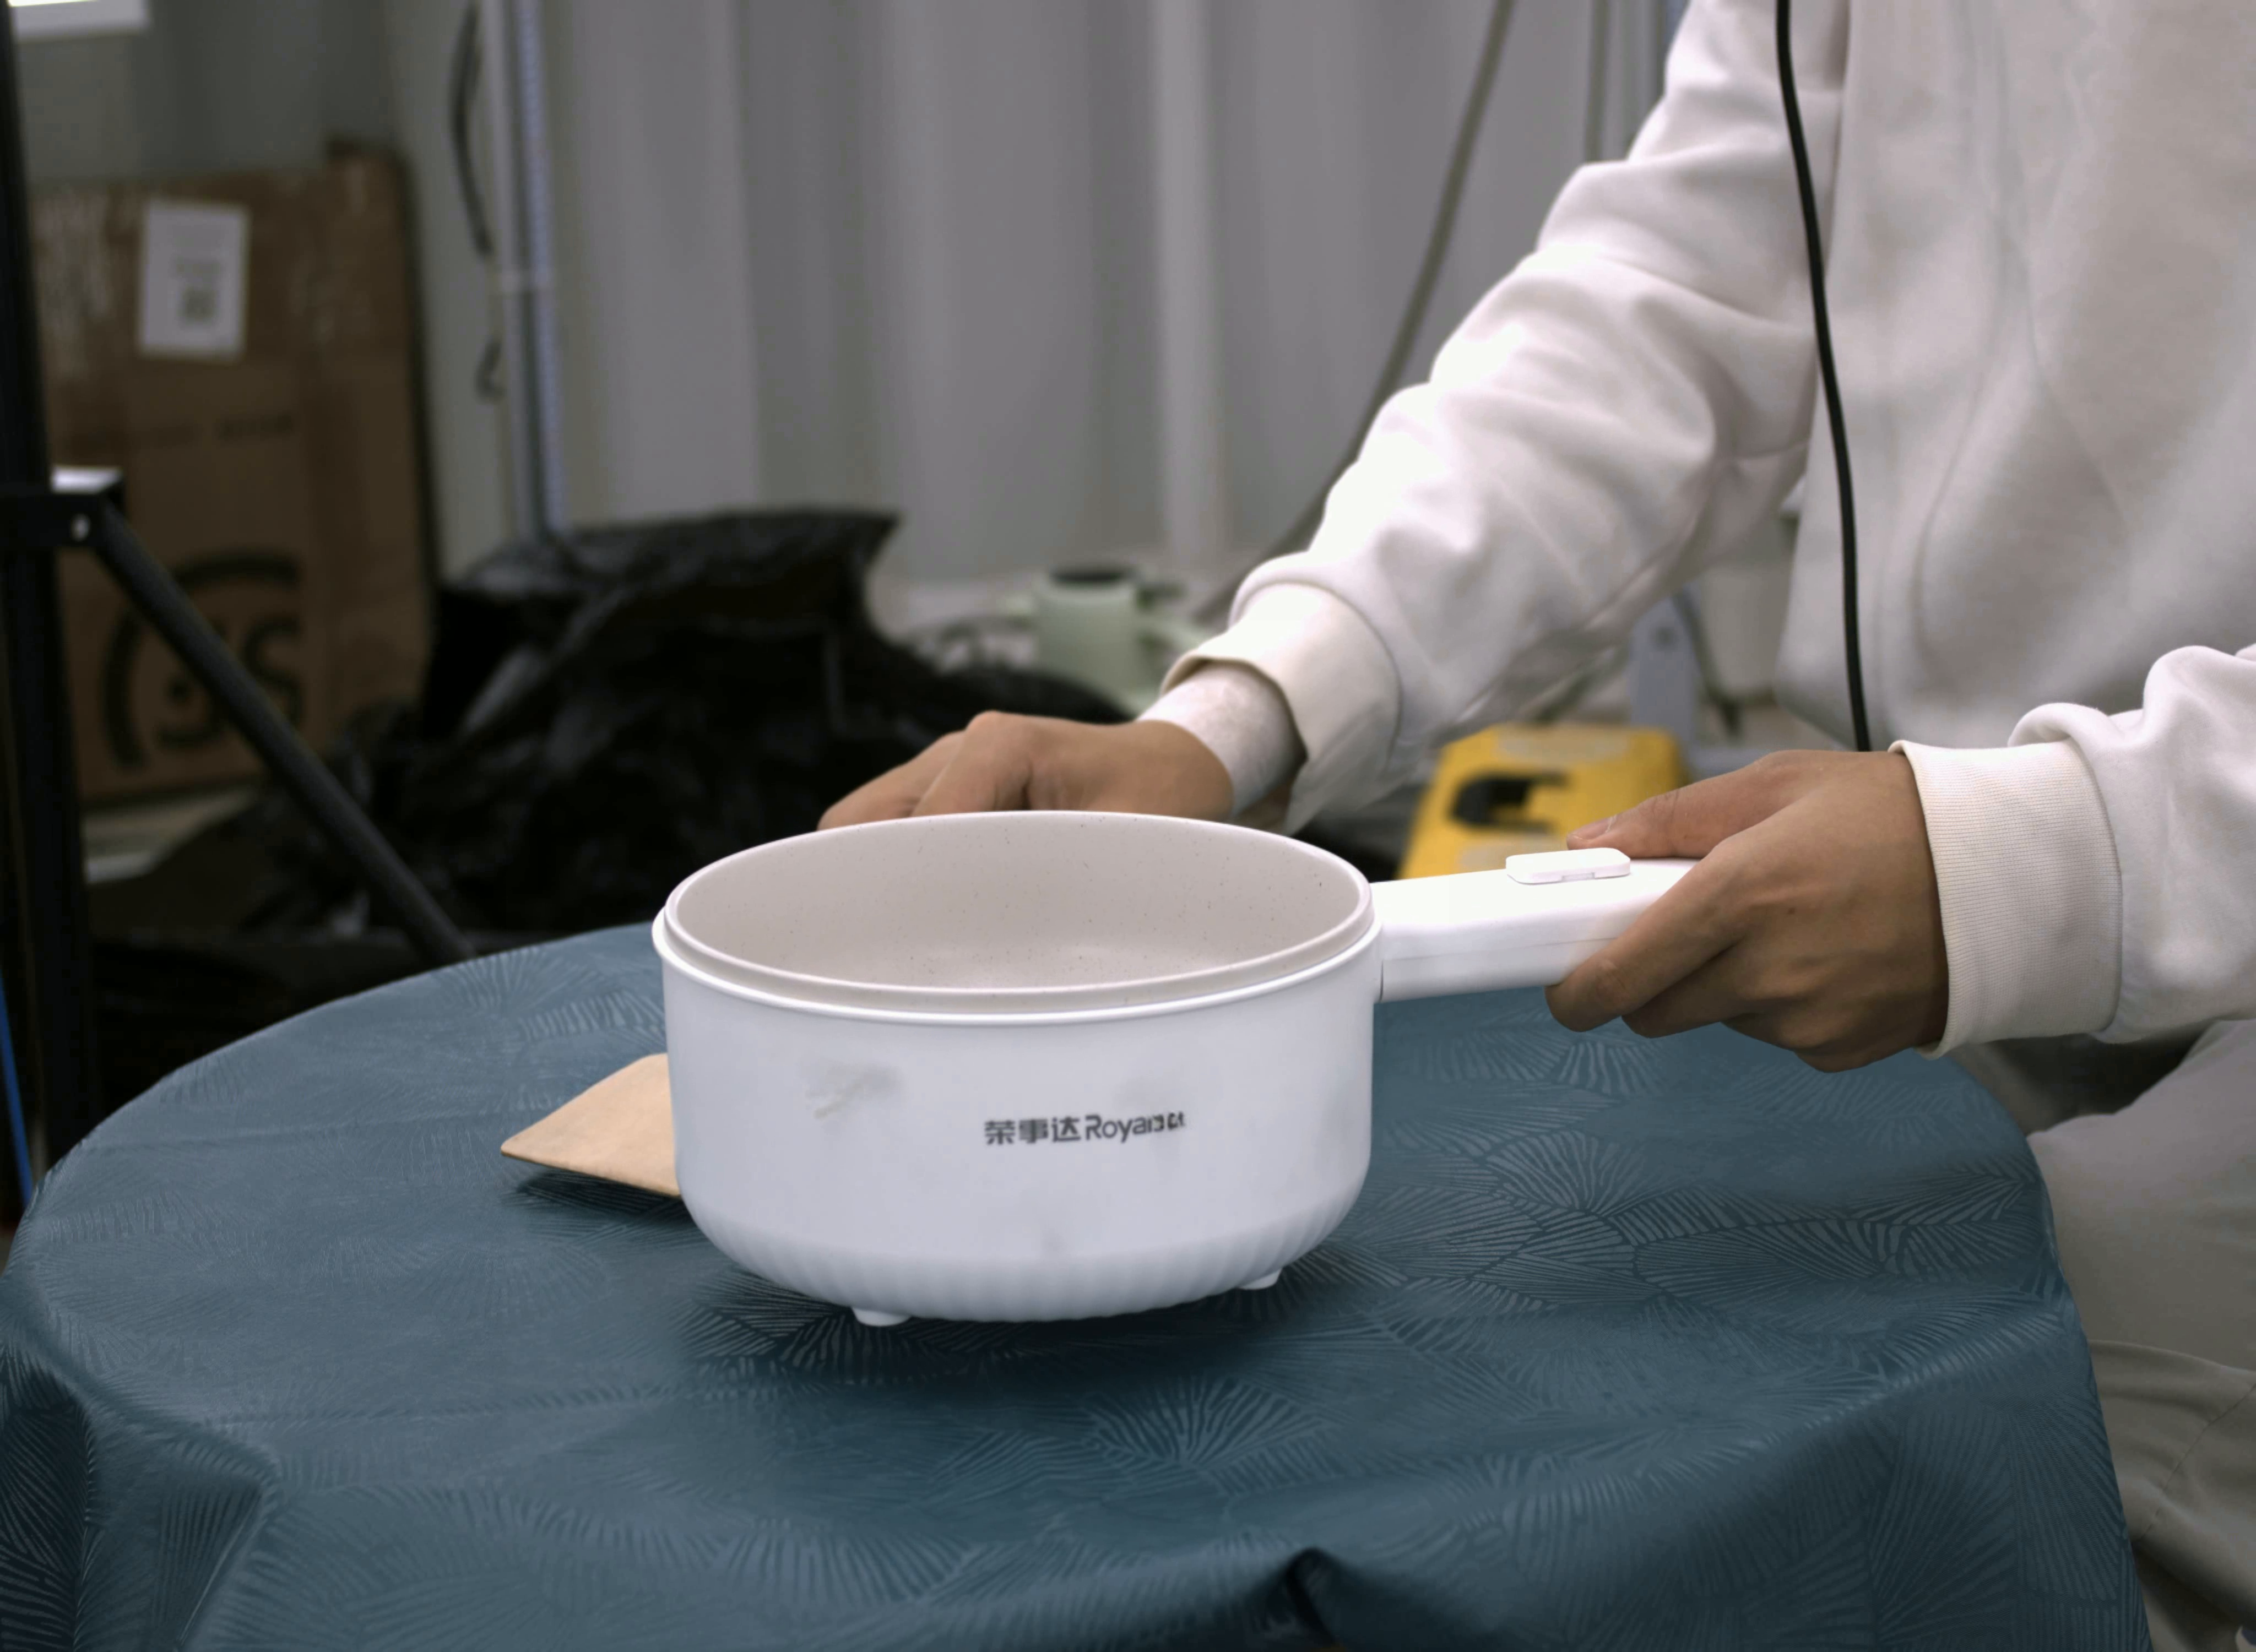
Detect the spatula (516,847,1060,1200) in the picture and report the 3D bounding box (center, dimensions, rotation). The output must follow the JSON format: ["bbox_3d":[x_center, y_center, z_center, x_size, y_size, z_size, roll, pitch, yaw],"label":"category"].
[{"bbox_3d":[-0.088,0.058,1.685,0.073,0.010,0.288,10,24,27],"label":"spatula"}]

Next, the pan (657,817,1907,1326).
[{"bbox_3d":[0.045,0.064,1.484,0.349,0.102,0.204,-4,13,-13],"label":"pan"}]
